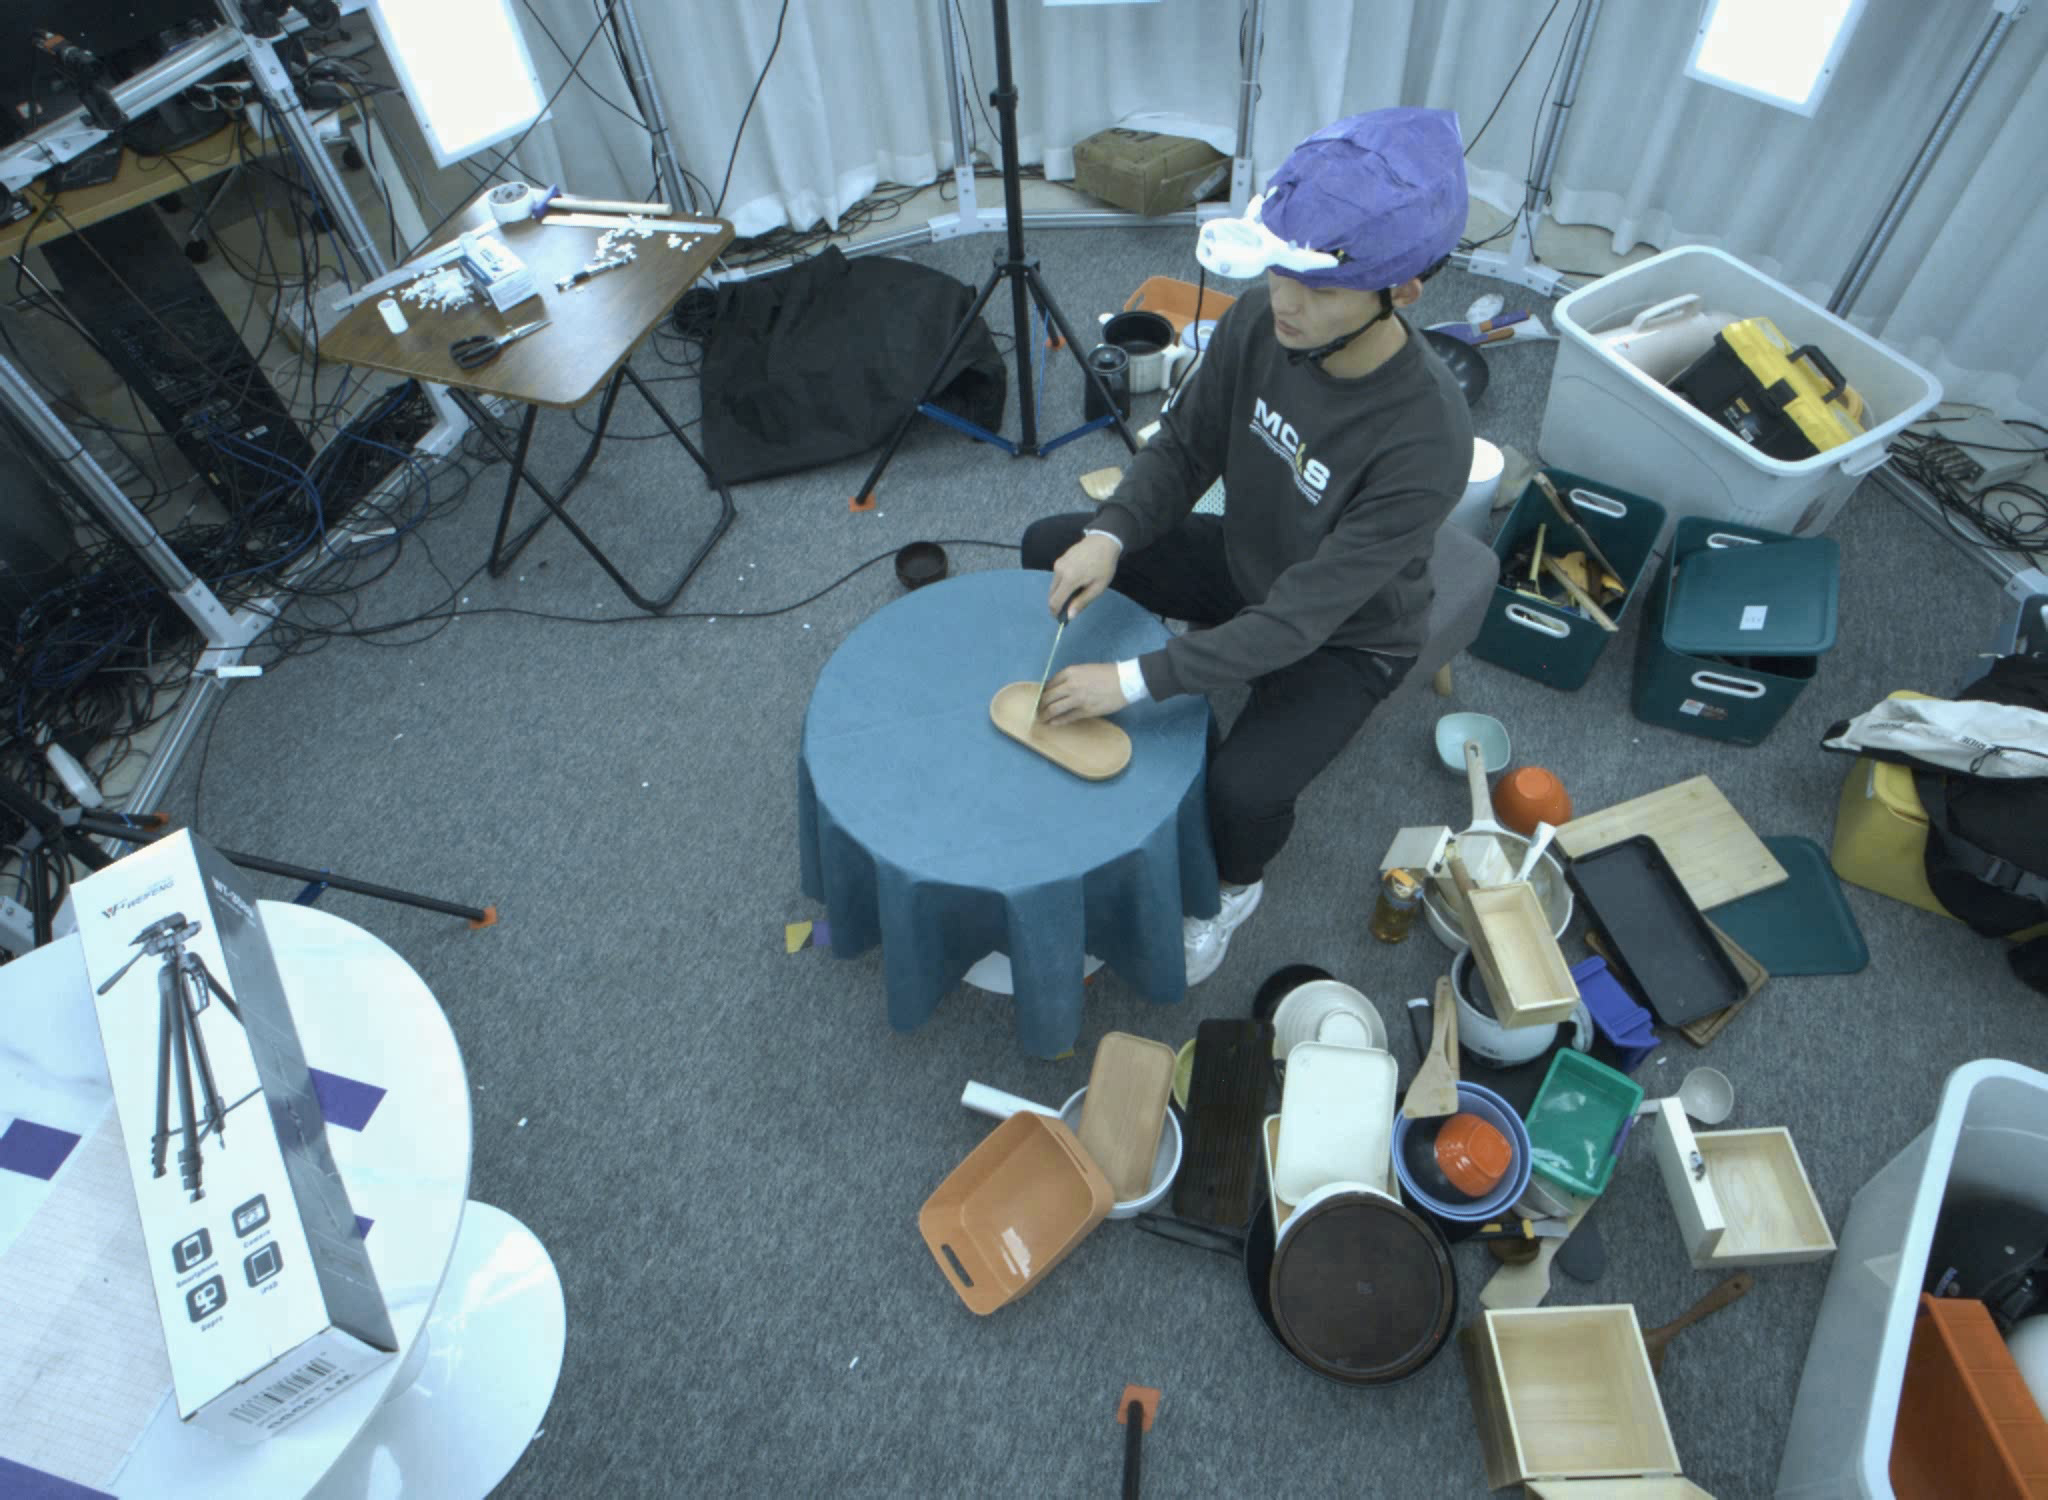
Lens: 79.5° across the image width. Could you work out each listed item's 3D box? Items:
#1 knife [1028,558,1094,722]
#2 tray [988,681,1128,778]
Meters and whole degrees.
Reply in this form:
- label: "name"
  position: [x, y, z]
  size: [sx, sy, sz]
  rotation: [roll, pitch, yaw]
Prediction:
- label: "knife"
  position: [0.052, -0.165, 1.833]
  size: [0.027, 0.081, 0.289]
  rotation: [21, 66, -1]
- label: "tray"
  position: [0.049, -0.031, 1.806]
  size: [0.227, 0.020, 0.102]
  rotation: [29, 58, 22]
